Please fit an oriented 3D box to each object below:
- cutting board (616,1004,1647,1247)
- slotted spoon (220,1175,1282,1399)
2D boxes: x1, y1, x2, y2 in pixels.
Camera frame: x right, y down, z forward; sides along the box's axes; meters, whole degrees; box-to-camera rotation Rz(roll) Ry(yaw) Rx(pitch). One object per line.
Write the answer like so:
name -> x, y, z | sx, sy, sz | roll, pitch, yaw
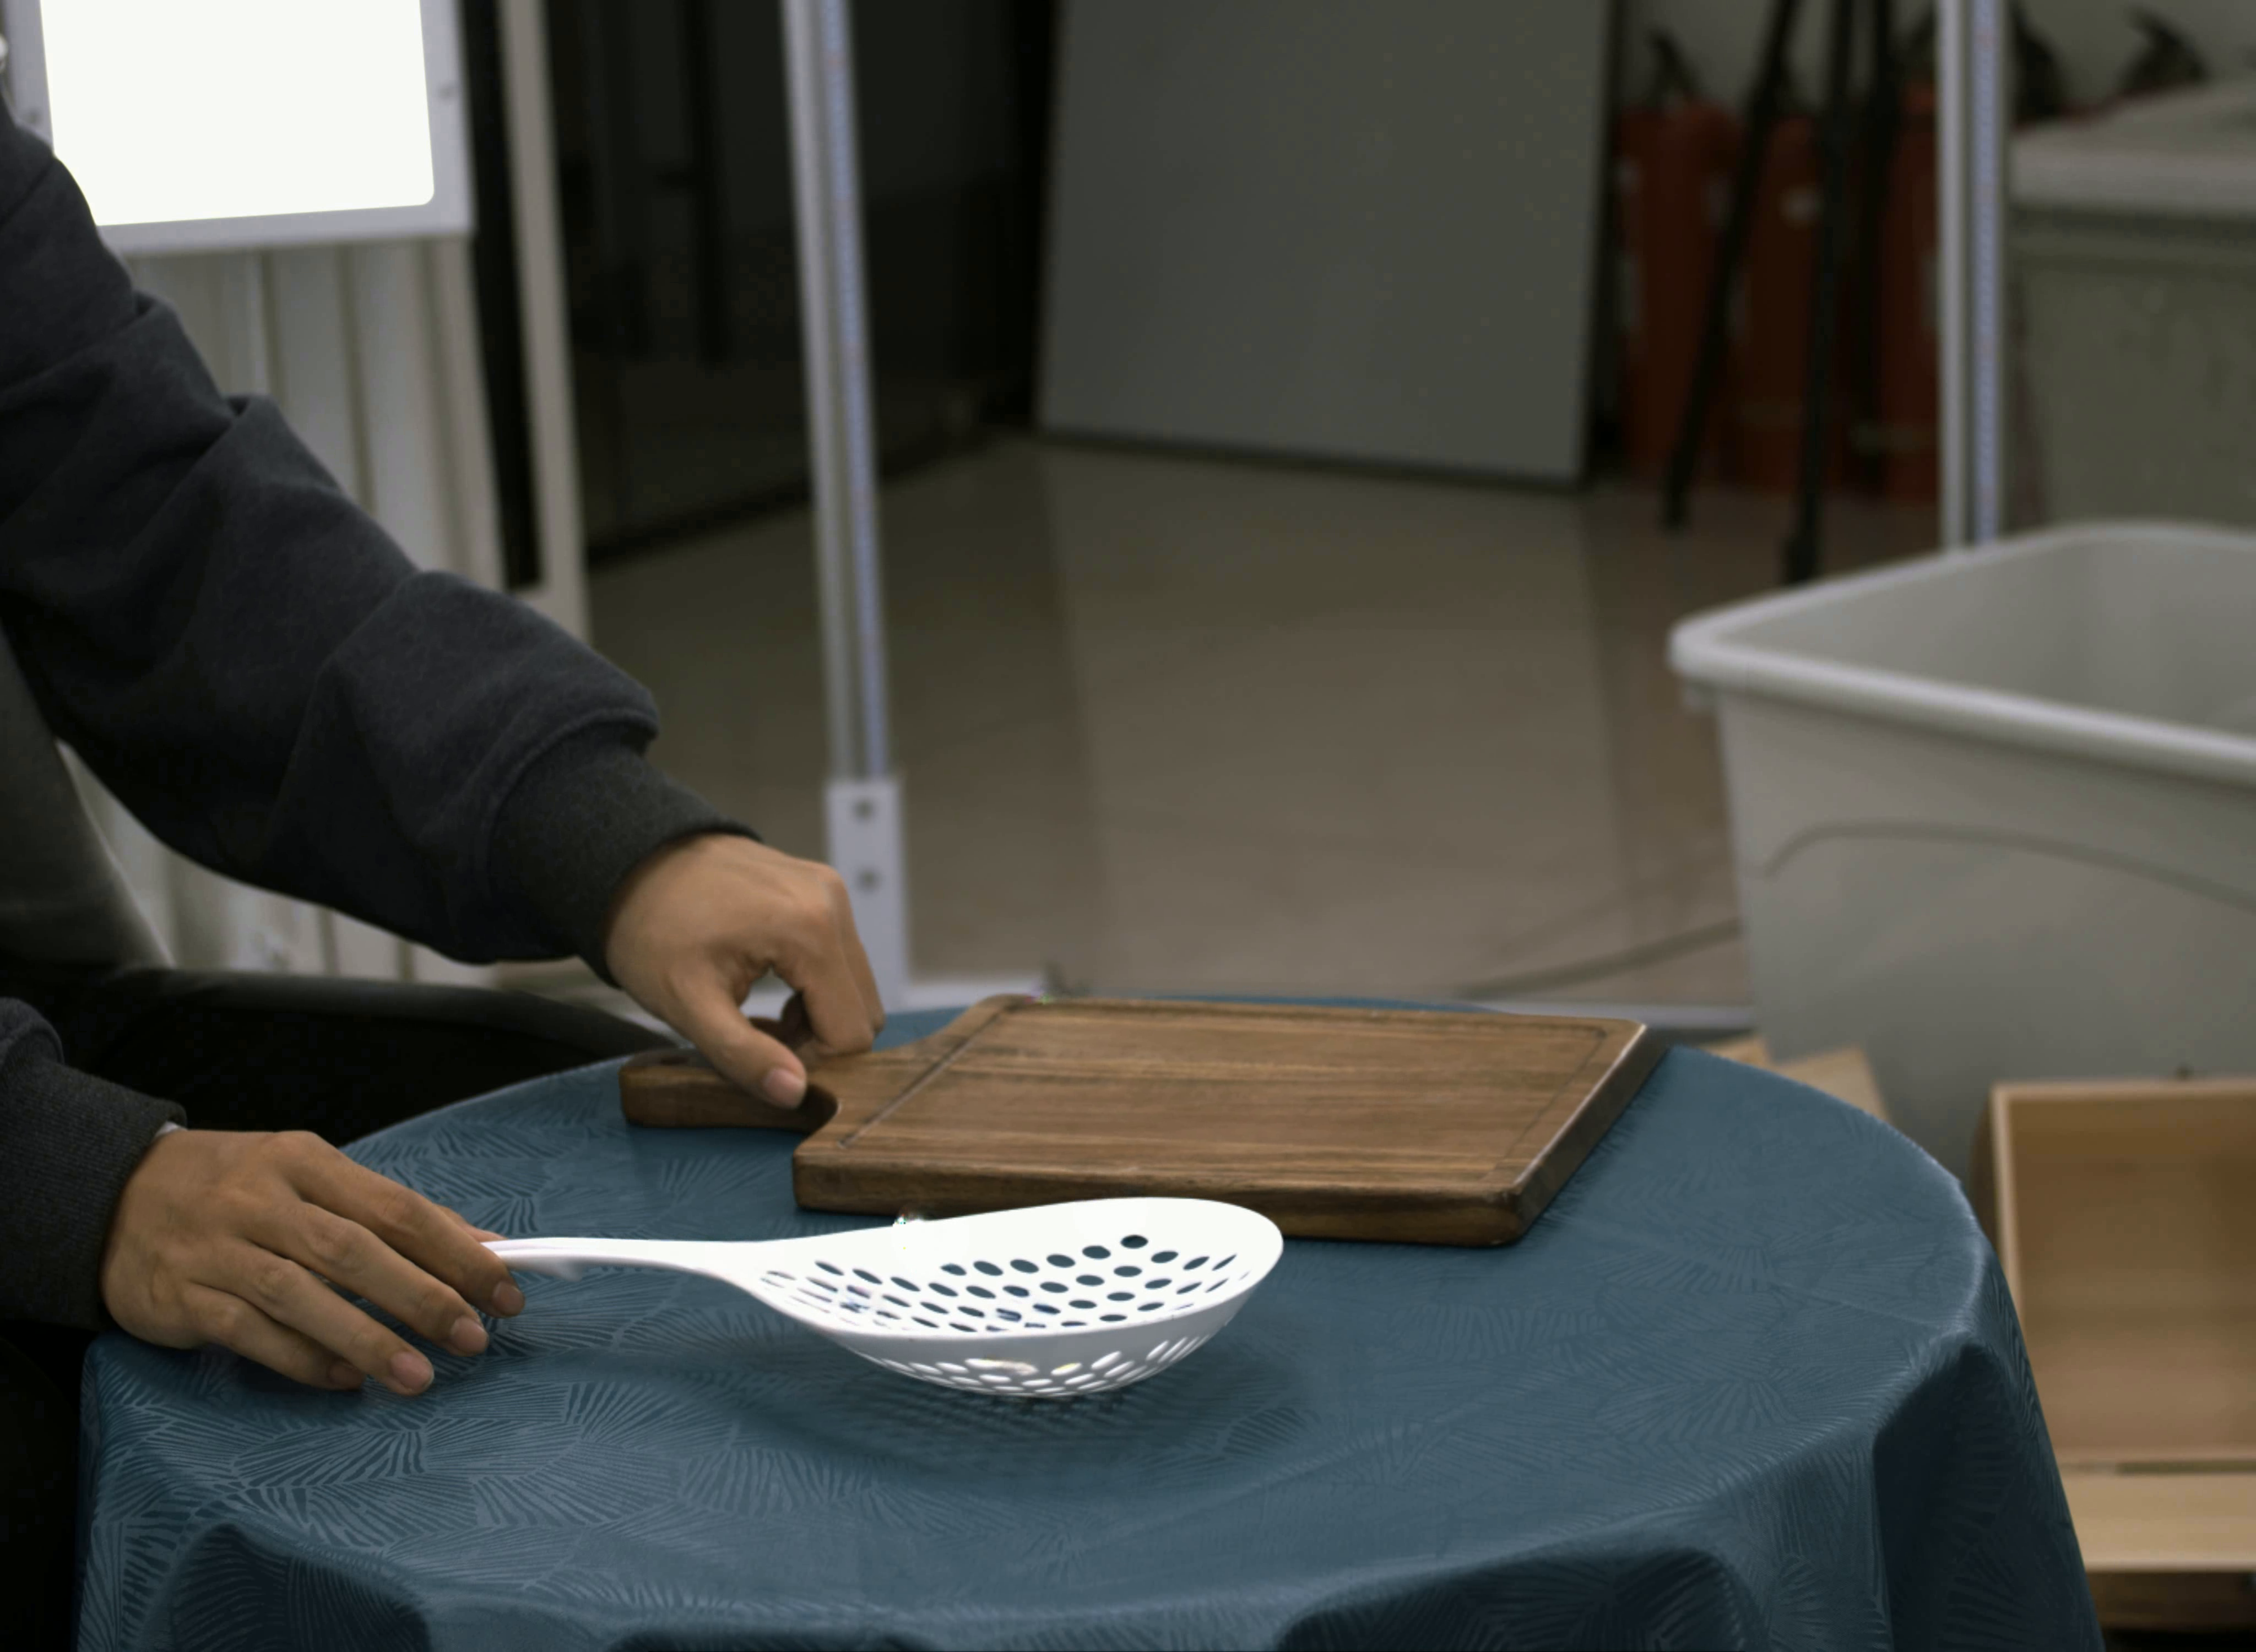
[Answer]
cutting board -> -0.011, 0.097, 1.830 | 0.351, 0.023, 0.199 | 1, 14, 20
slotted spoon -> -0.120, 0.141, 1.632 | 0.348, 0.051, 0.135 | 2, 15, 23
